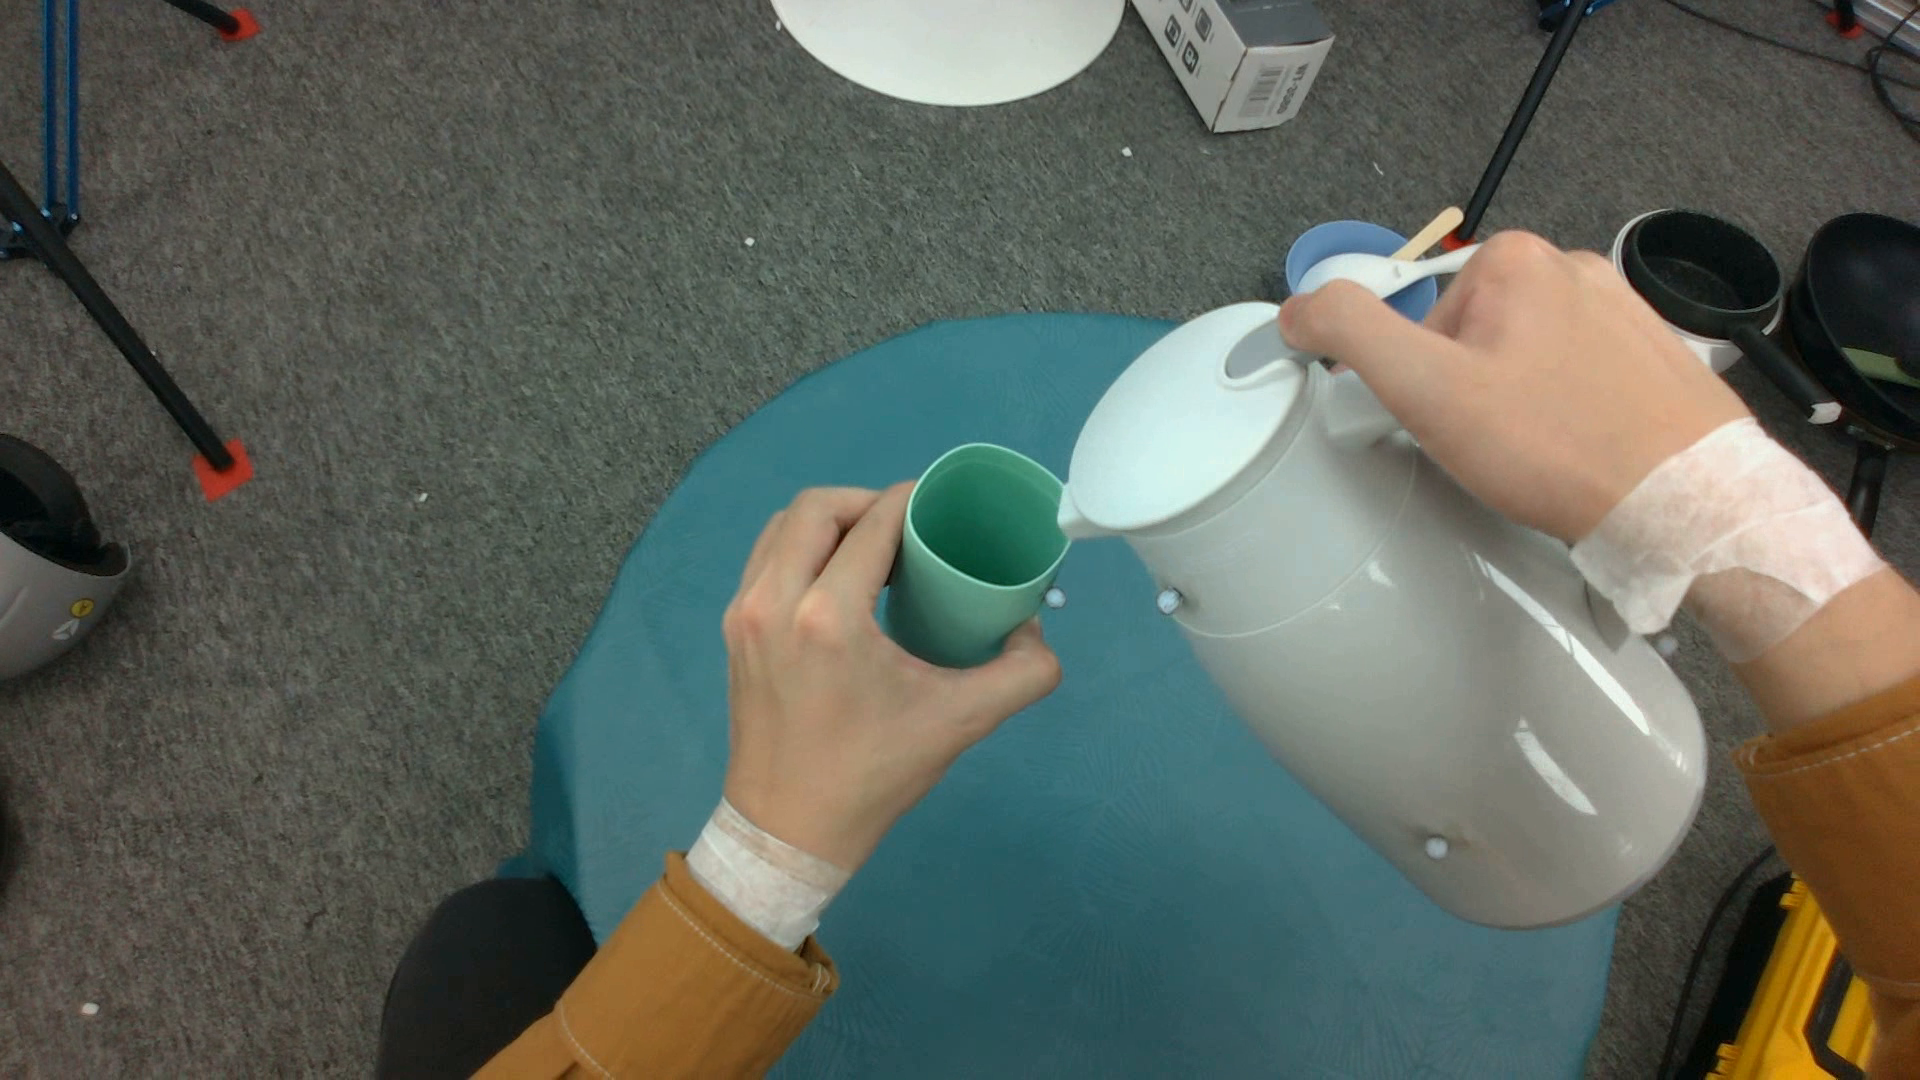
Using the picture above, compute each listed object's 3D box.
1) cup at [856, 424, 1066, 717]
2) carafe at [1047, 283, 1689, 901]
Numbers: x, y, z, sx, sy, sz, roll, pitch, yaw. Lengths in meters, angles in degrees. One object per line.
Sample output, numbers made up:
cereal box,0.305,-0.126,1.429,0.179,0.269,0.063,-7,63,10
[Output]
cup,-0.004,0.018,0.572,0.067,0.131,0.067,6,57,-9
carafe,0.159,0.009,0.488,0.248,0.167,0.133,41,41,-29
